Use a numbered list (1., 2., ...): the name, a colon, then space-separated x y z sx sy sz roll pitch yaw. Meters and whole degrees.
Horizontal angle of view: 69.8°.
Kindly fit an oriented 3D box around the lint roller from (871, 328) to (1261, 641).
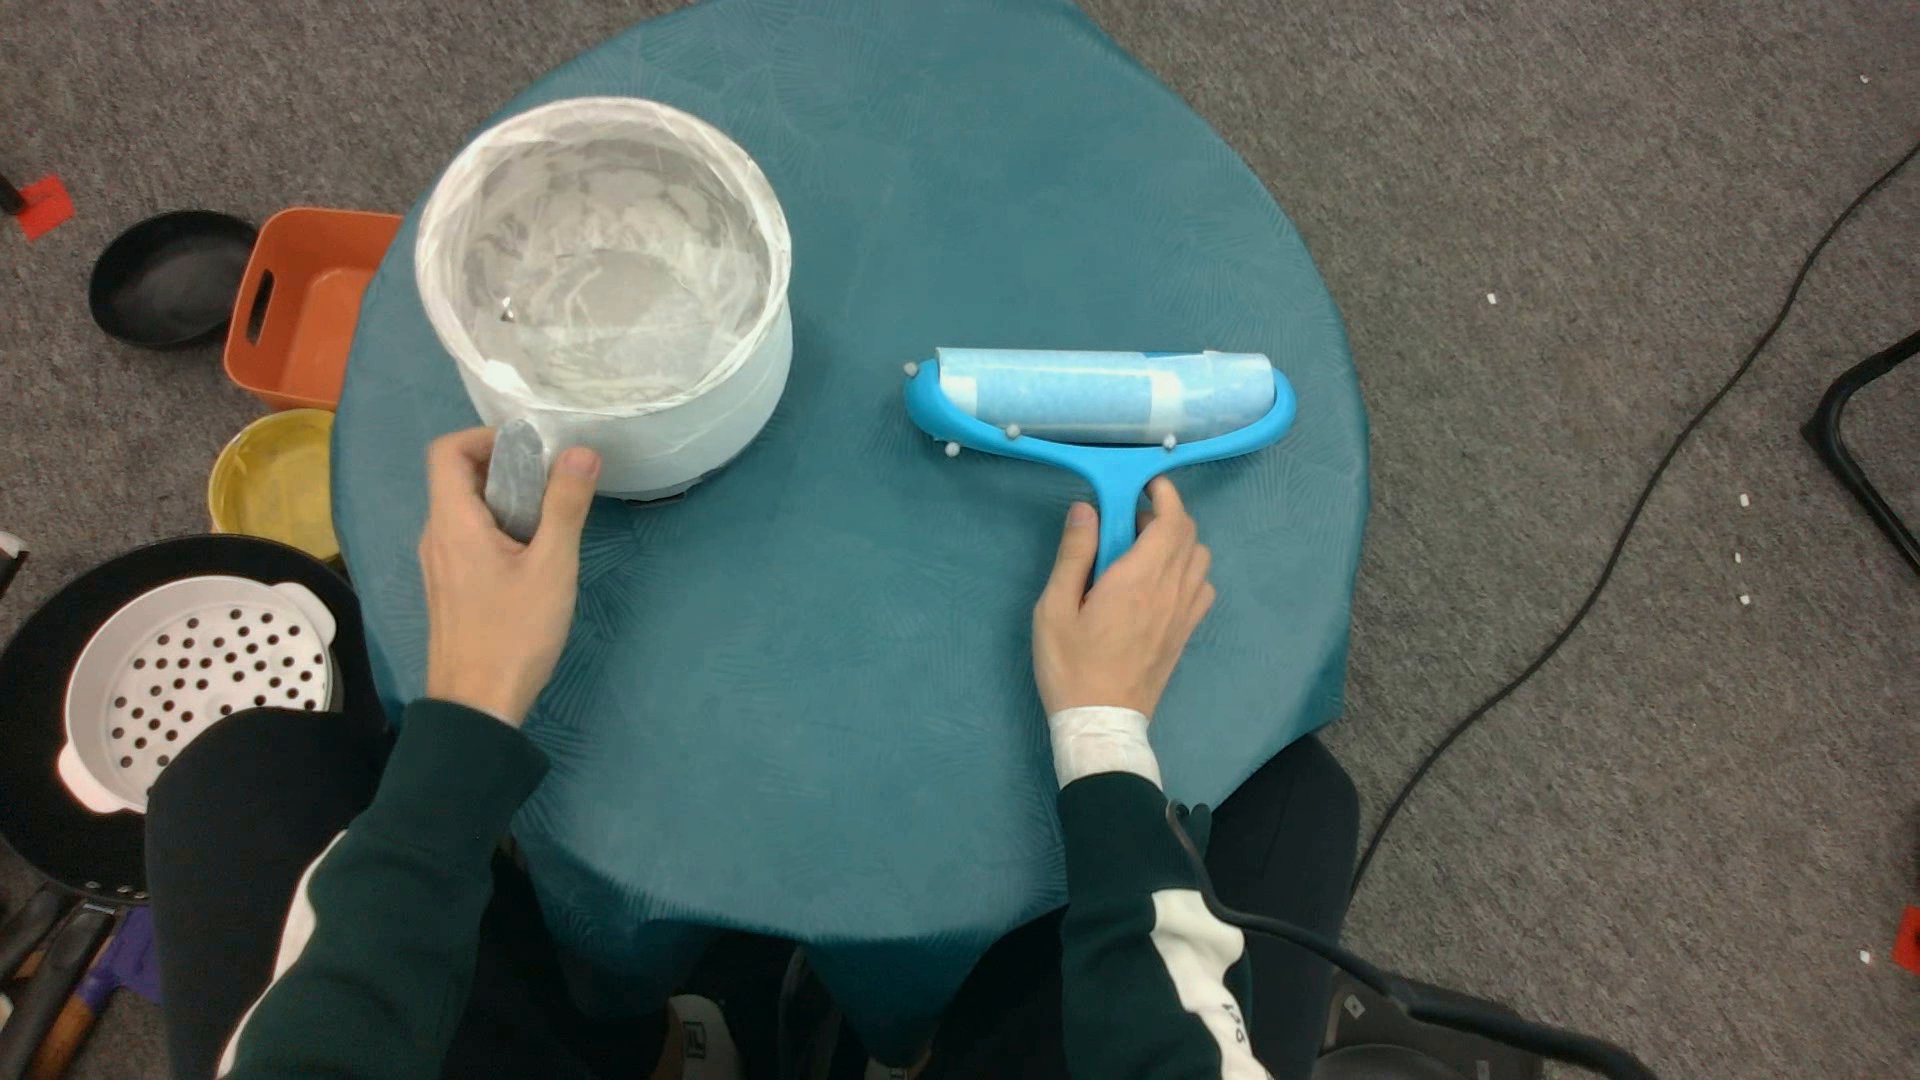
1. lint roller: 0.071 -0.038 0.781 0.229 0.067 0.180 -4 71 -11

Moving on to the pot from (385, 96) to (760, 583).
1. pot: -0.203 -0.096 0.719 0.179 0.136 0.234 17 68 -2
